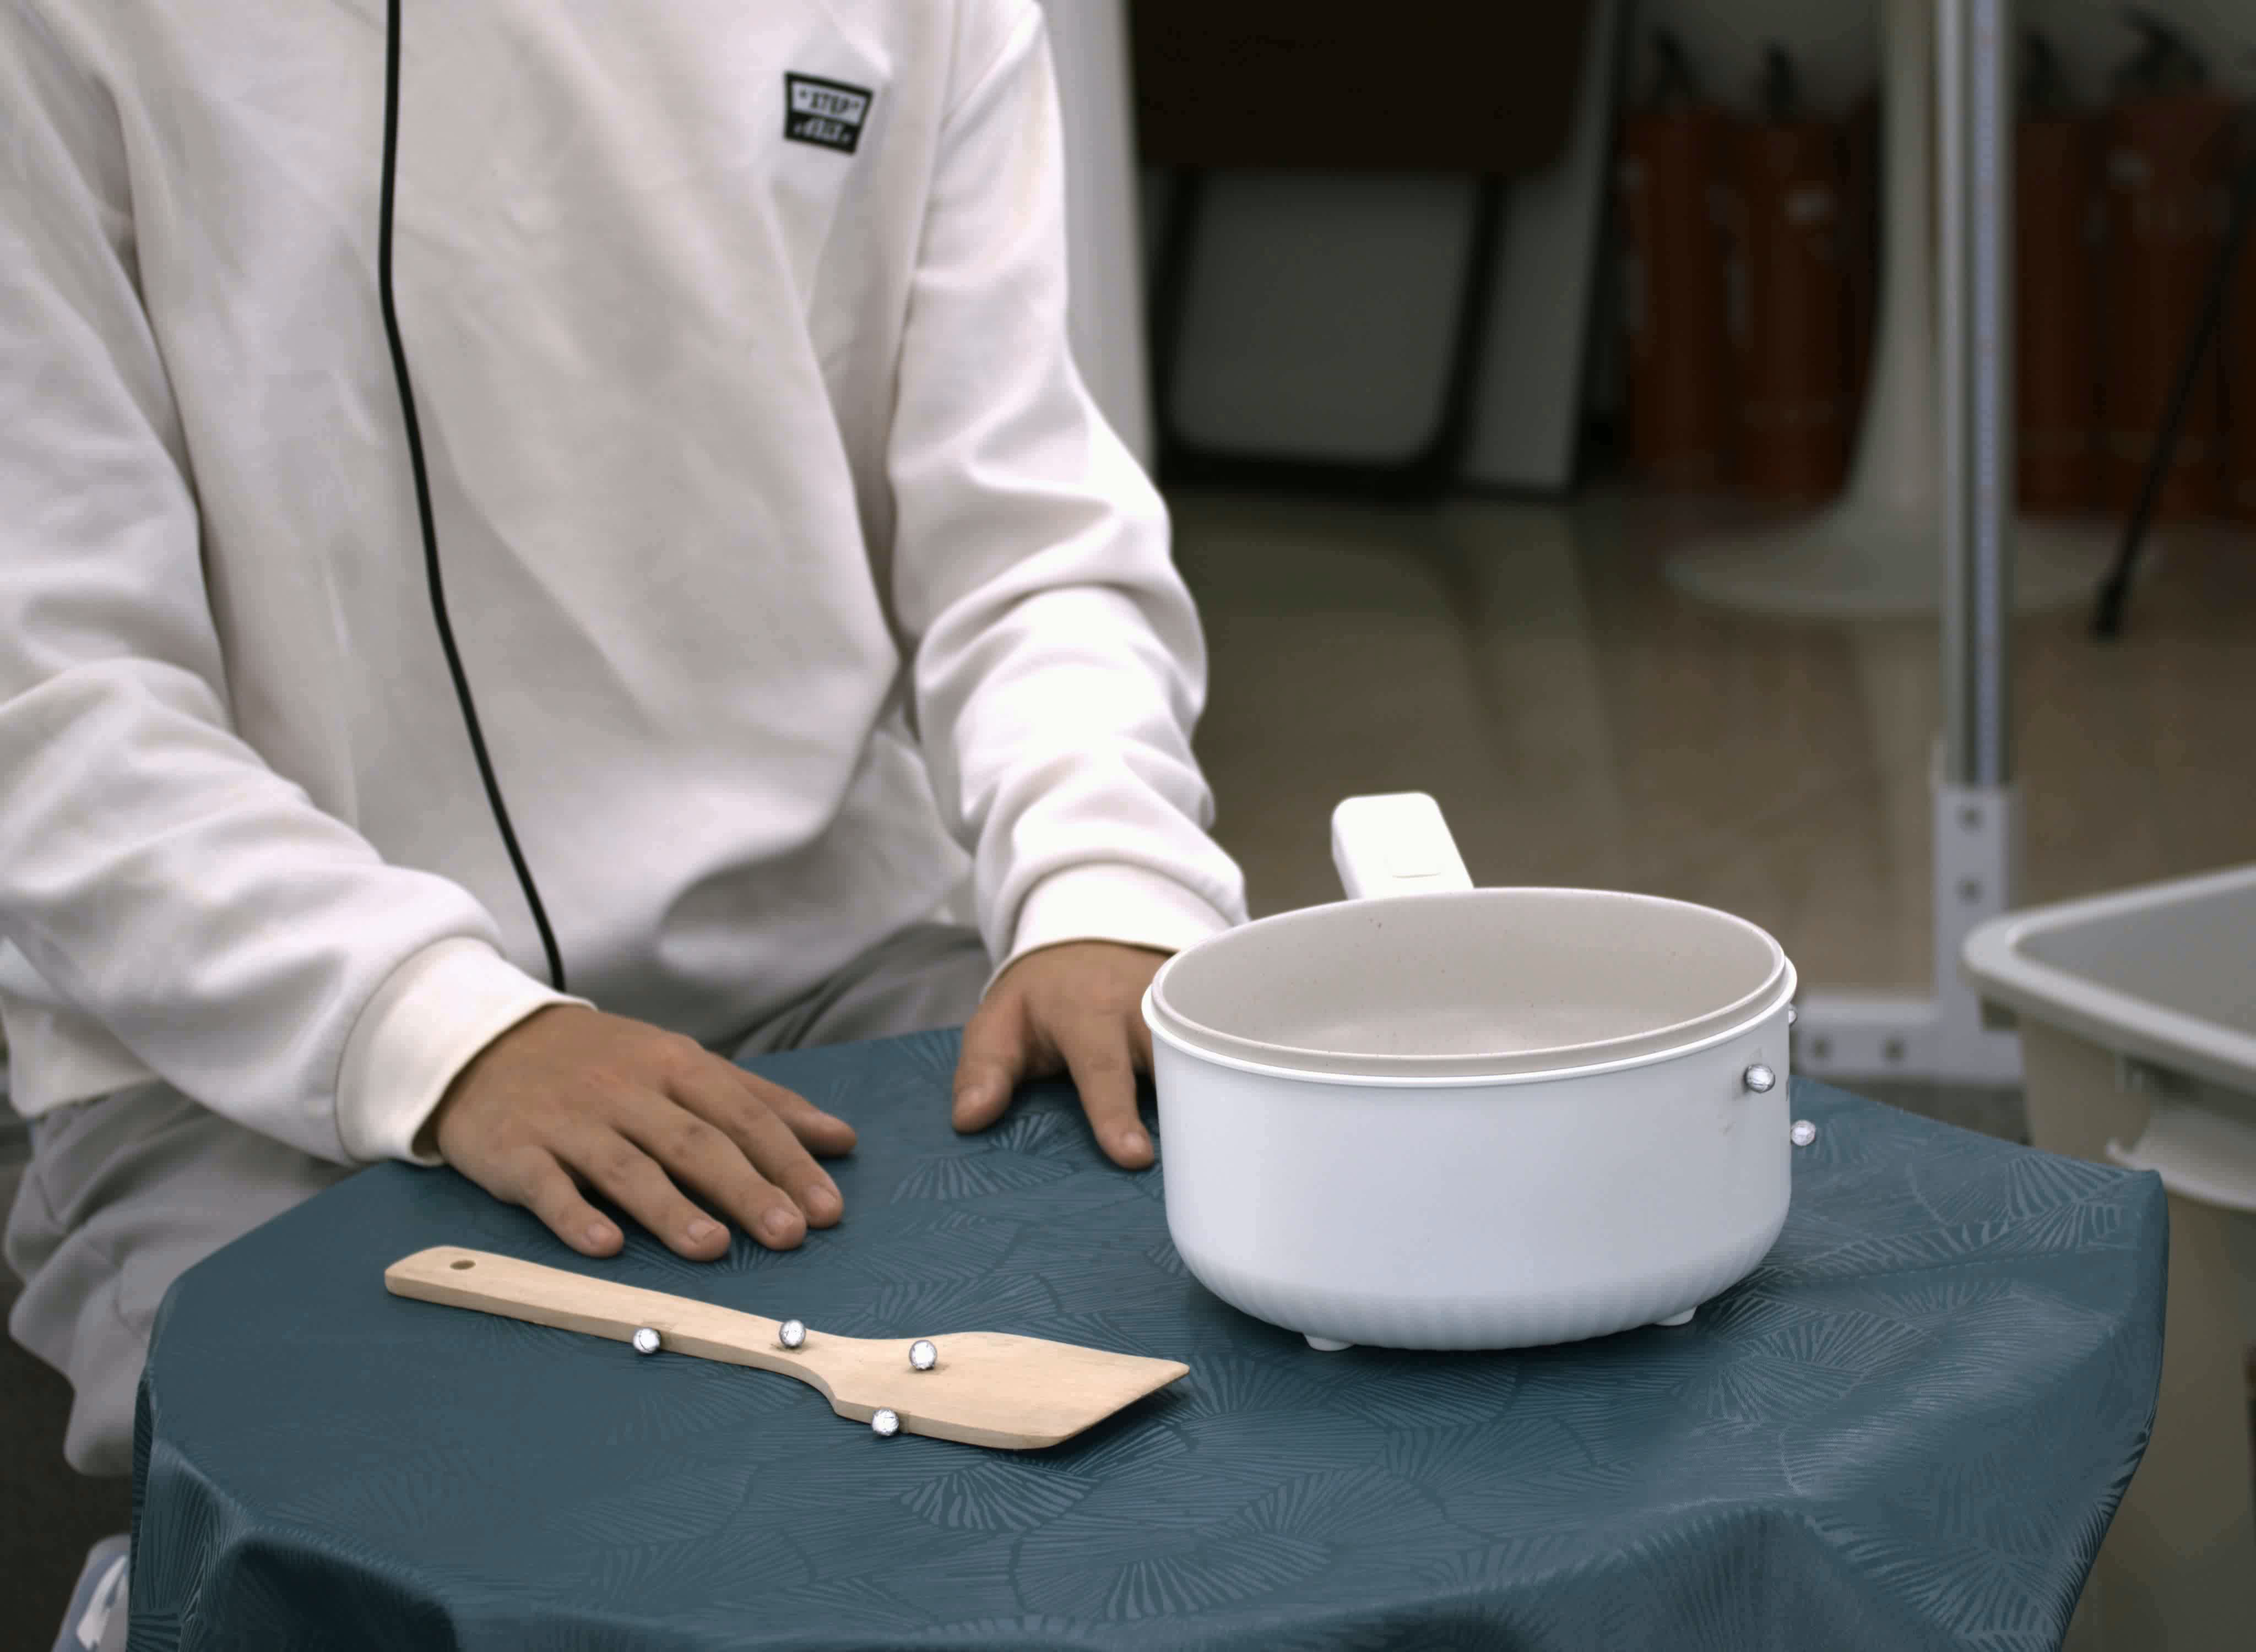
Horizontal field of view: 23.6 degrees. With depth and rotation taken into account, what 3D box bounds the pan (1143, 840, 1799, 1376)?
[{"bbox_3d":[0.104,0.084,1.728,0.198,0.103,0.355,-8,10,-1],"label":"pan"}]
